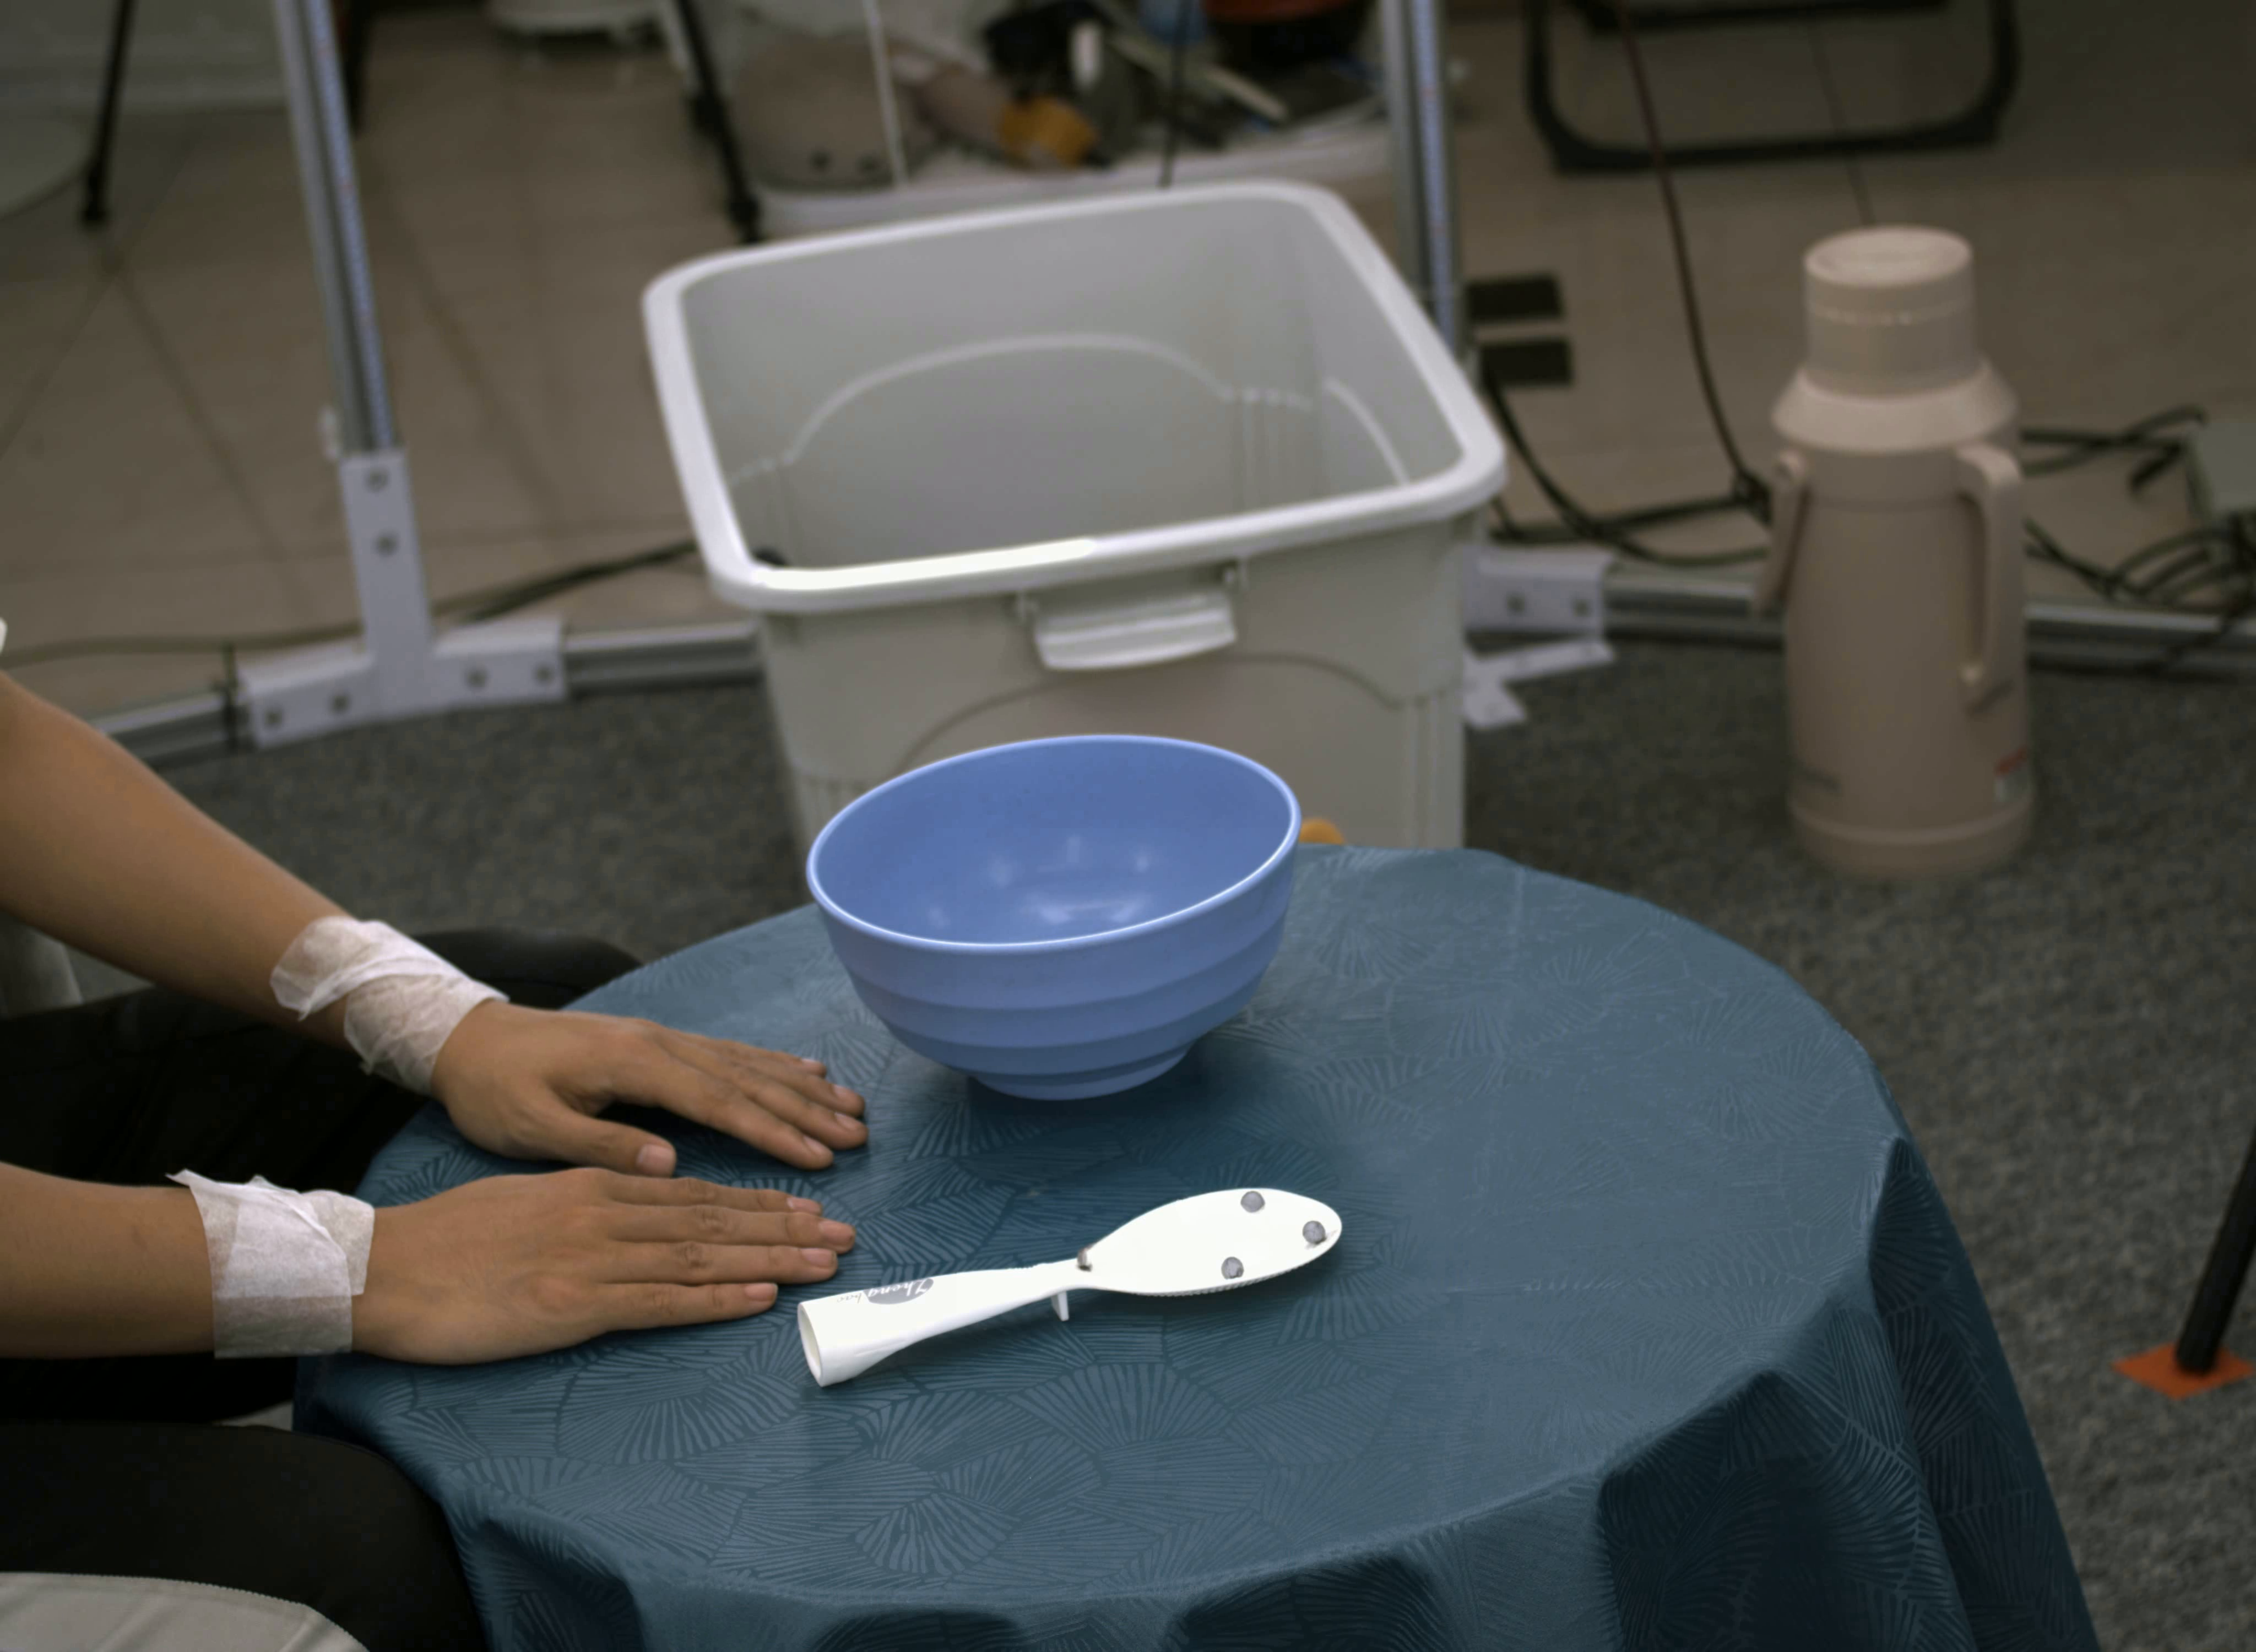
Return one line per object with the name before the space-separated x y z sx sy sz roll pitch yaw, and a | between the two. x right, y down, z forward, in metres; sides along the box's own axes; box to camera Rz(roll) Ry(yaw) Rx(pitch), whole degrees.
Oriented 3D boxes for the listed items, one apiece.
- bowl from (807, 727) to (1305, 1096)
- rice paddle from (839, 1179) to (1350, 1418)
bowl | -0.025 0.044 2.243 0.196 0.097 0.193 -4 26 2
rice paddle | -0.009 0.164 2.074 0.204 0.030 0.068 -21 15 -21
